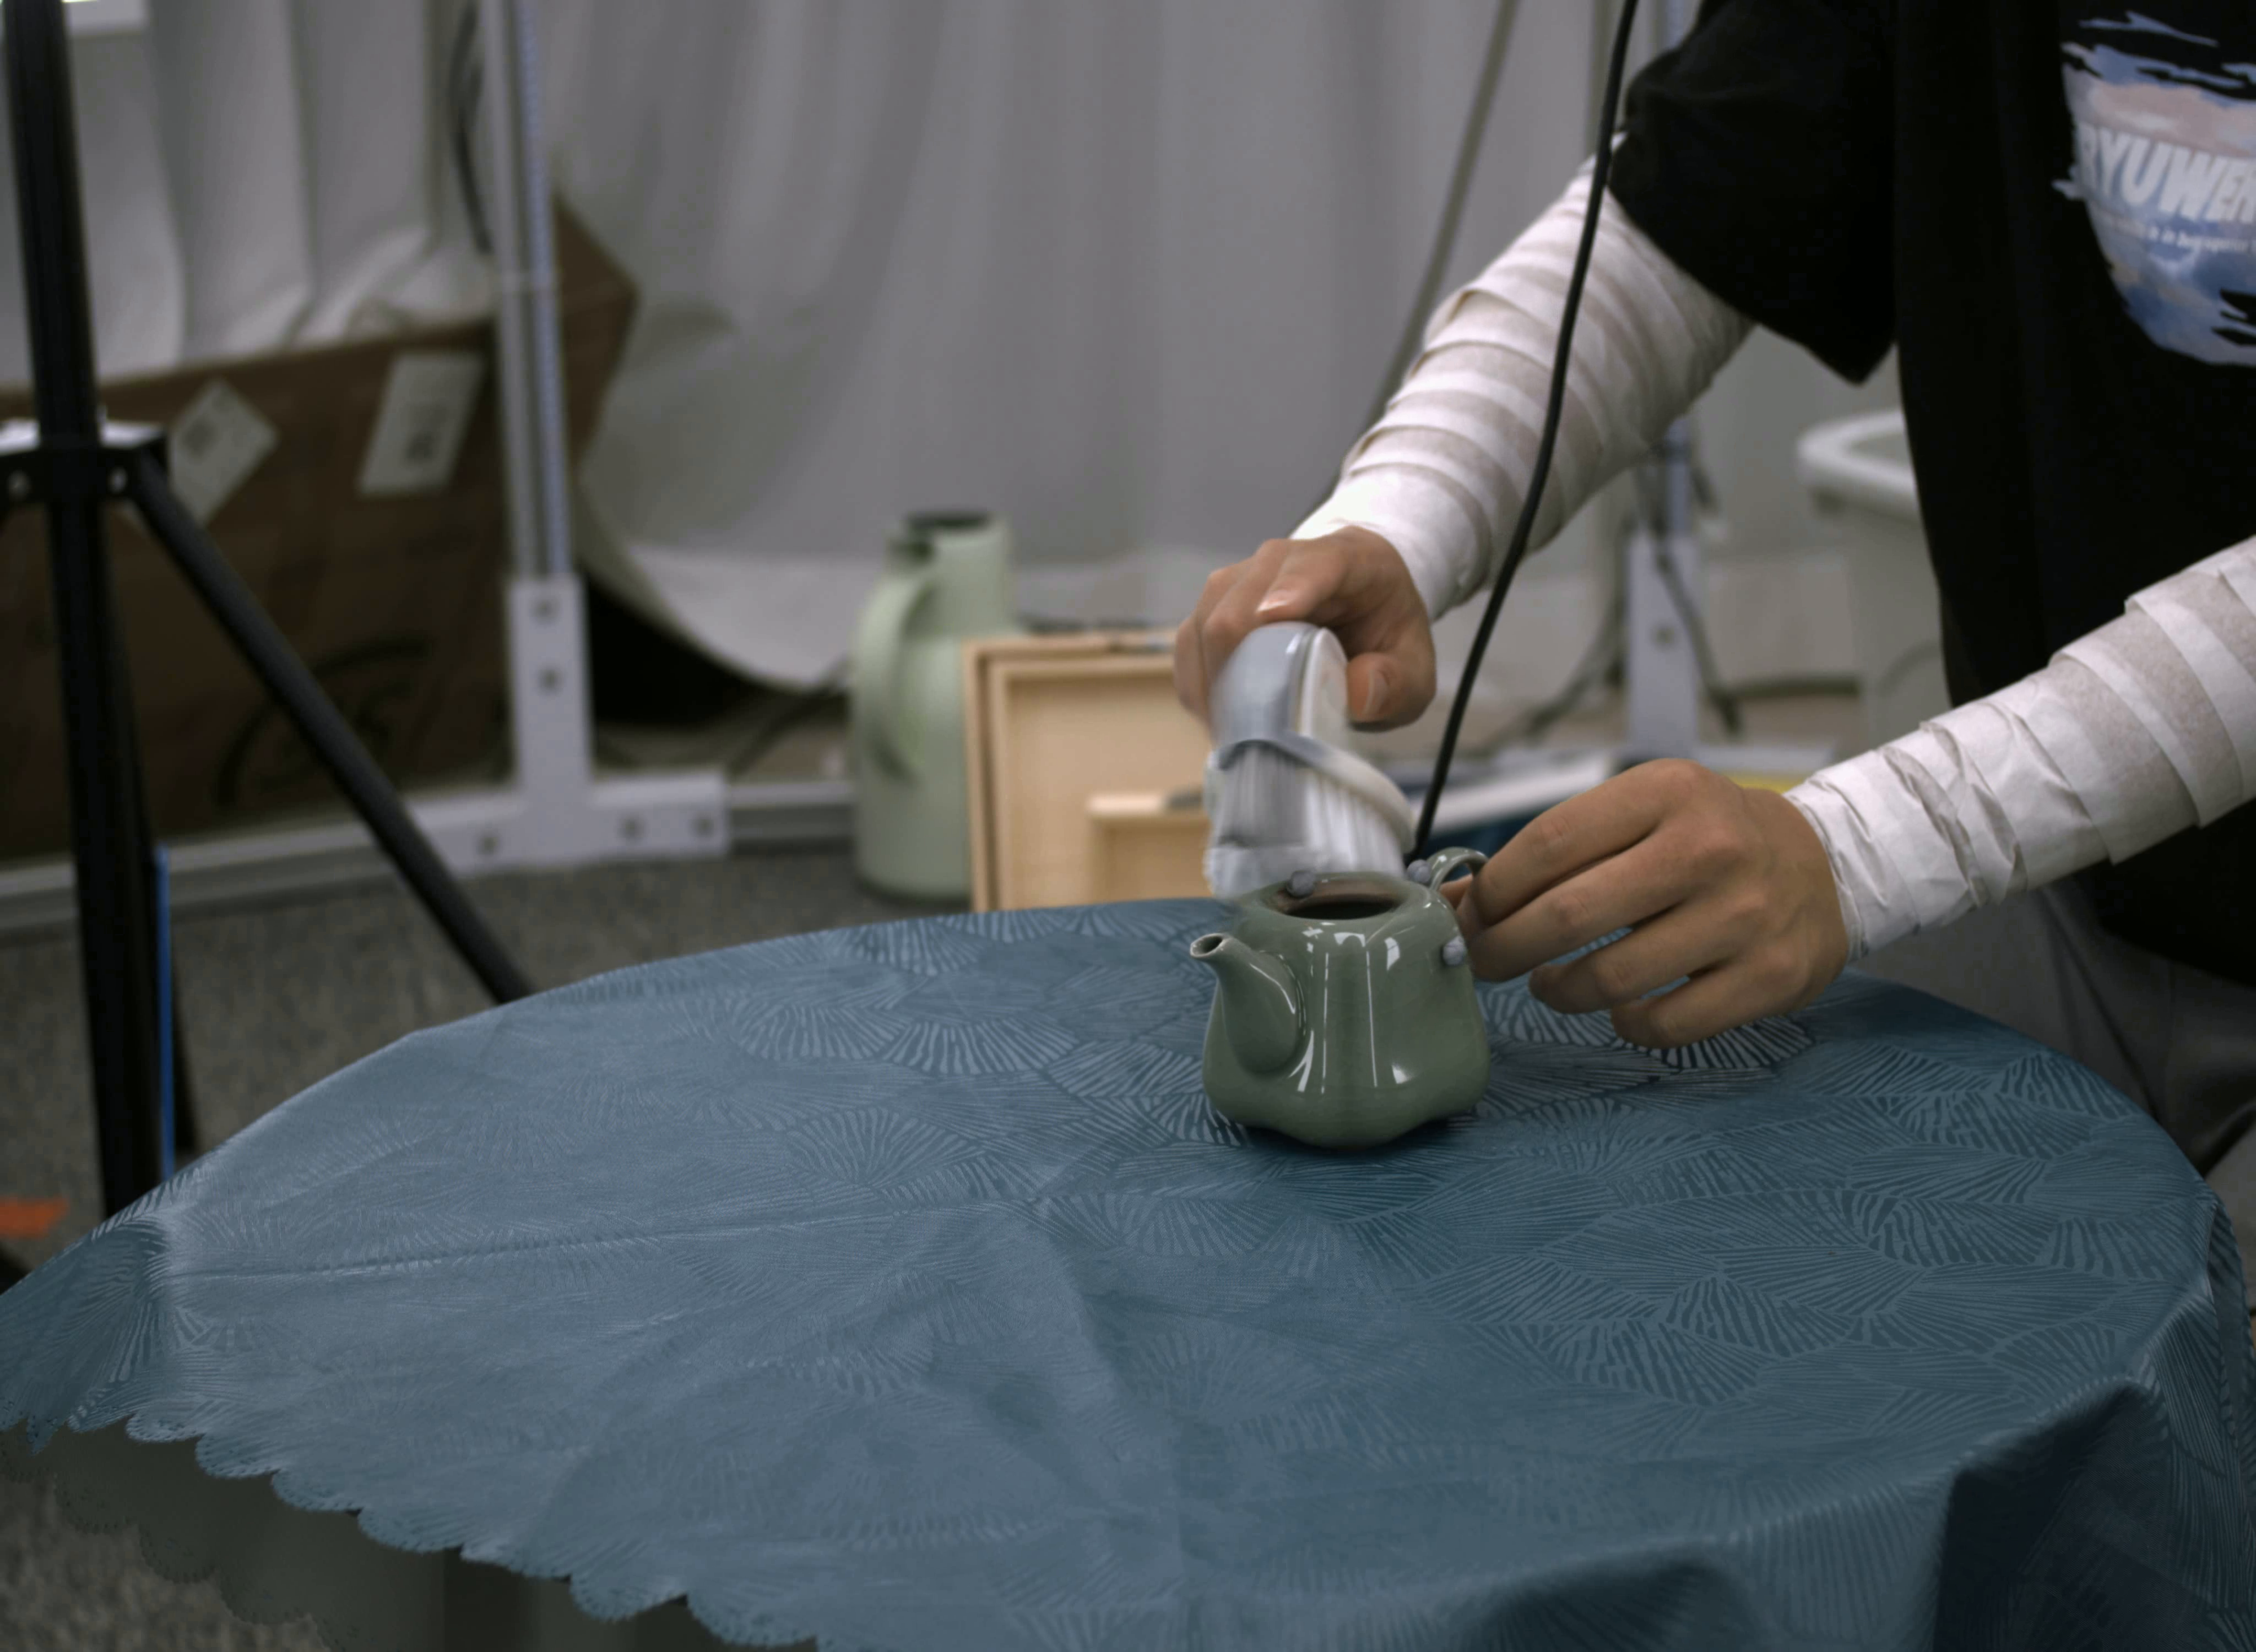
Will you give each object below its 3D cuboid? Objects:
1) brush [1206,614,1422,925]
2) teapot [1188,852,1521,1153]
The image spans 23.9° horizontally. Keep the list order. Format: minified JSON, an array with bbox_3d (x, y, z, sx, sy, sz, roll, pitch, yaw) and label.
[{"bbox_3d":[0.053,-0.022,1.668,0.062,0.095,0.173,-7,-12,12],"label":"brush"},{"bbox_3d":[0.068,0.054,1.608,0.129,0.075,0.081,-13,21,-38],"label":"teapot"}]
